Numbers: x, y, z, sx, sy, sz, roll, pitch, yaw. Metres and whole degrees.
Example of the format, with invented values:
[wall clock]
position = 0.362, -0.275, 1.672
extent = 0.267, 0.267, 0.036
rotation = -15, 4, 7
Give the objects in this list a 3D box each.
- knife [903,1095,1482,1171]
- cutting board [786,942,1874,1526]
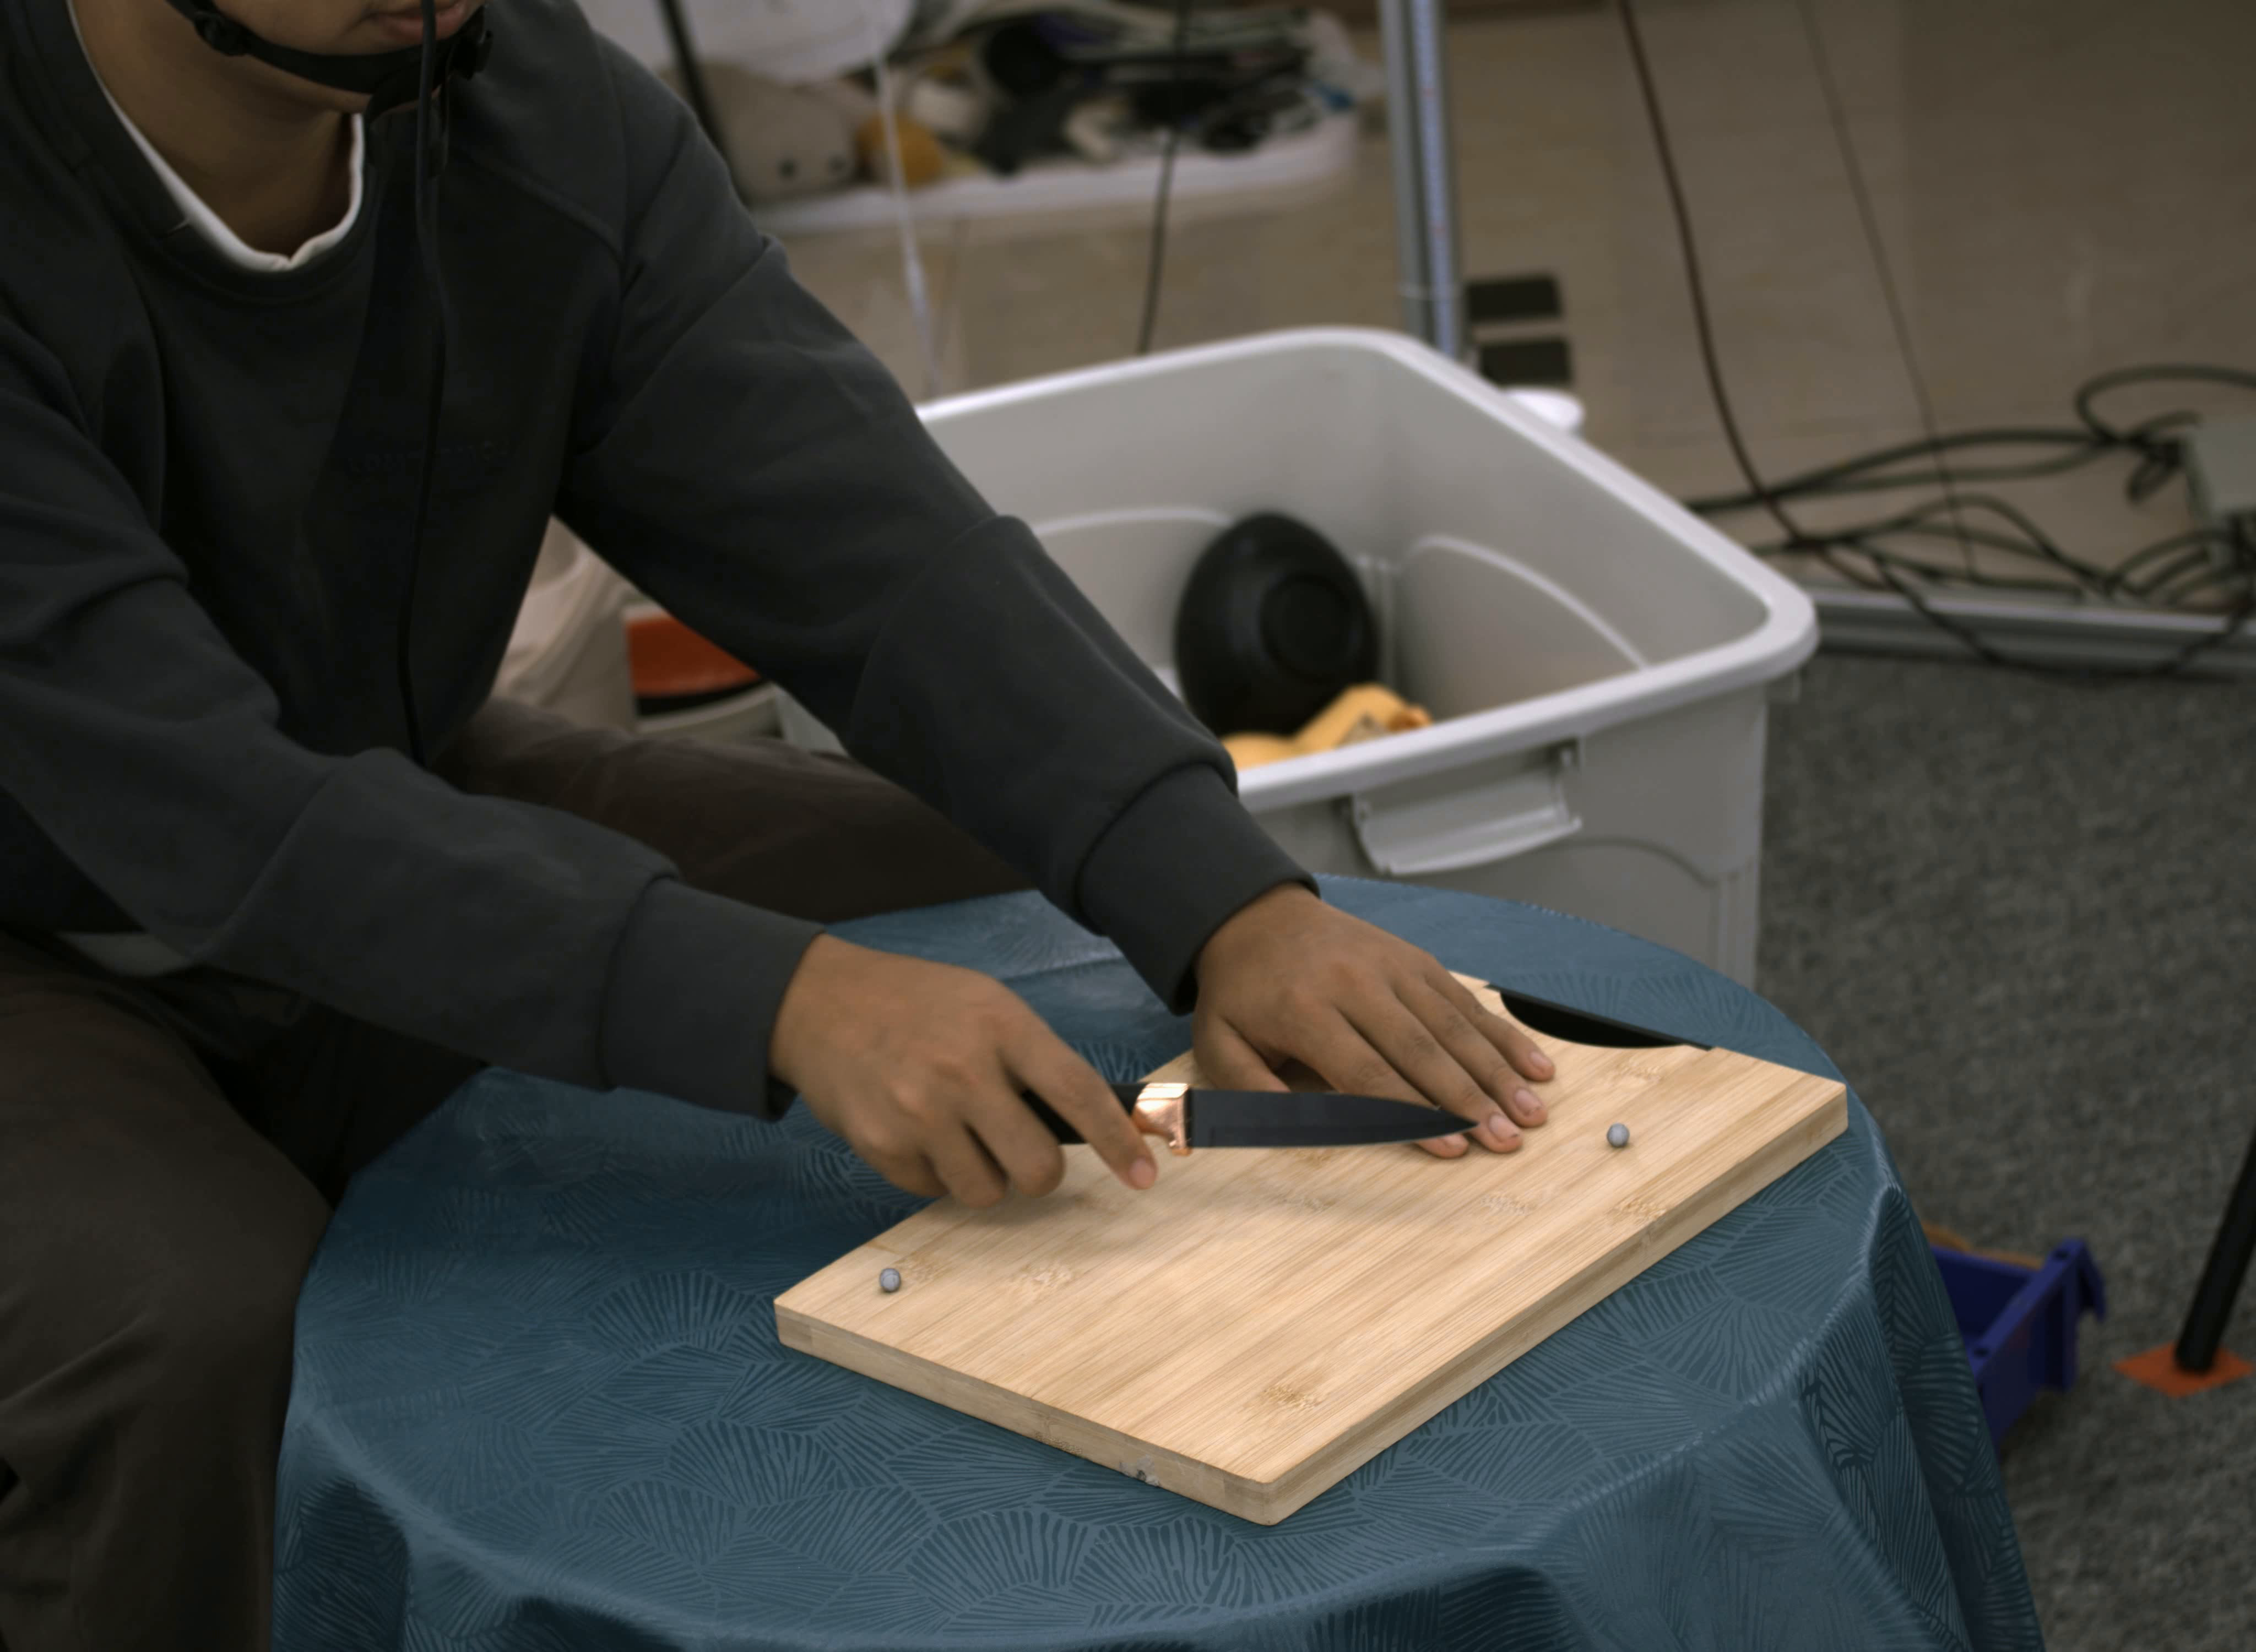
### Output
[knife]
position = 0.022, 0.112, 2.063
extent = 0.225, 0.026, 0.017
rotation = 0, -1, 22
[cutting board]
position = 0.076, 0.142, 2.103
extent = 0.249, 0.024, 0.345
rotation = 16, 33, 39
